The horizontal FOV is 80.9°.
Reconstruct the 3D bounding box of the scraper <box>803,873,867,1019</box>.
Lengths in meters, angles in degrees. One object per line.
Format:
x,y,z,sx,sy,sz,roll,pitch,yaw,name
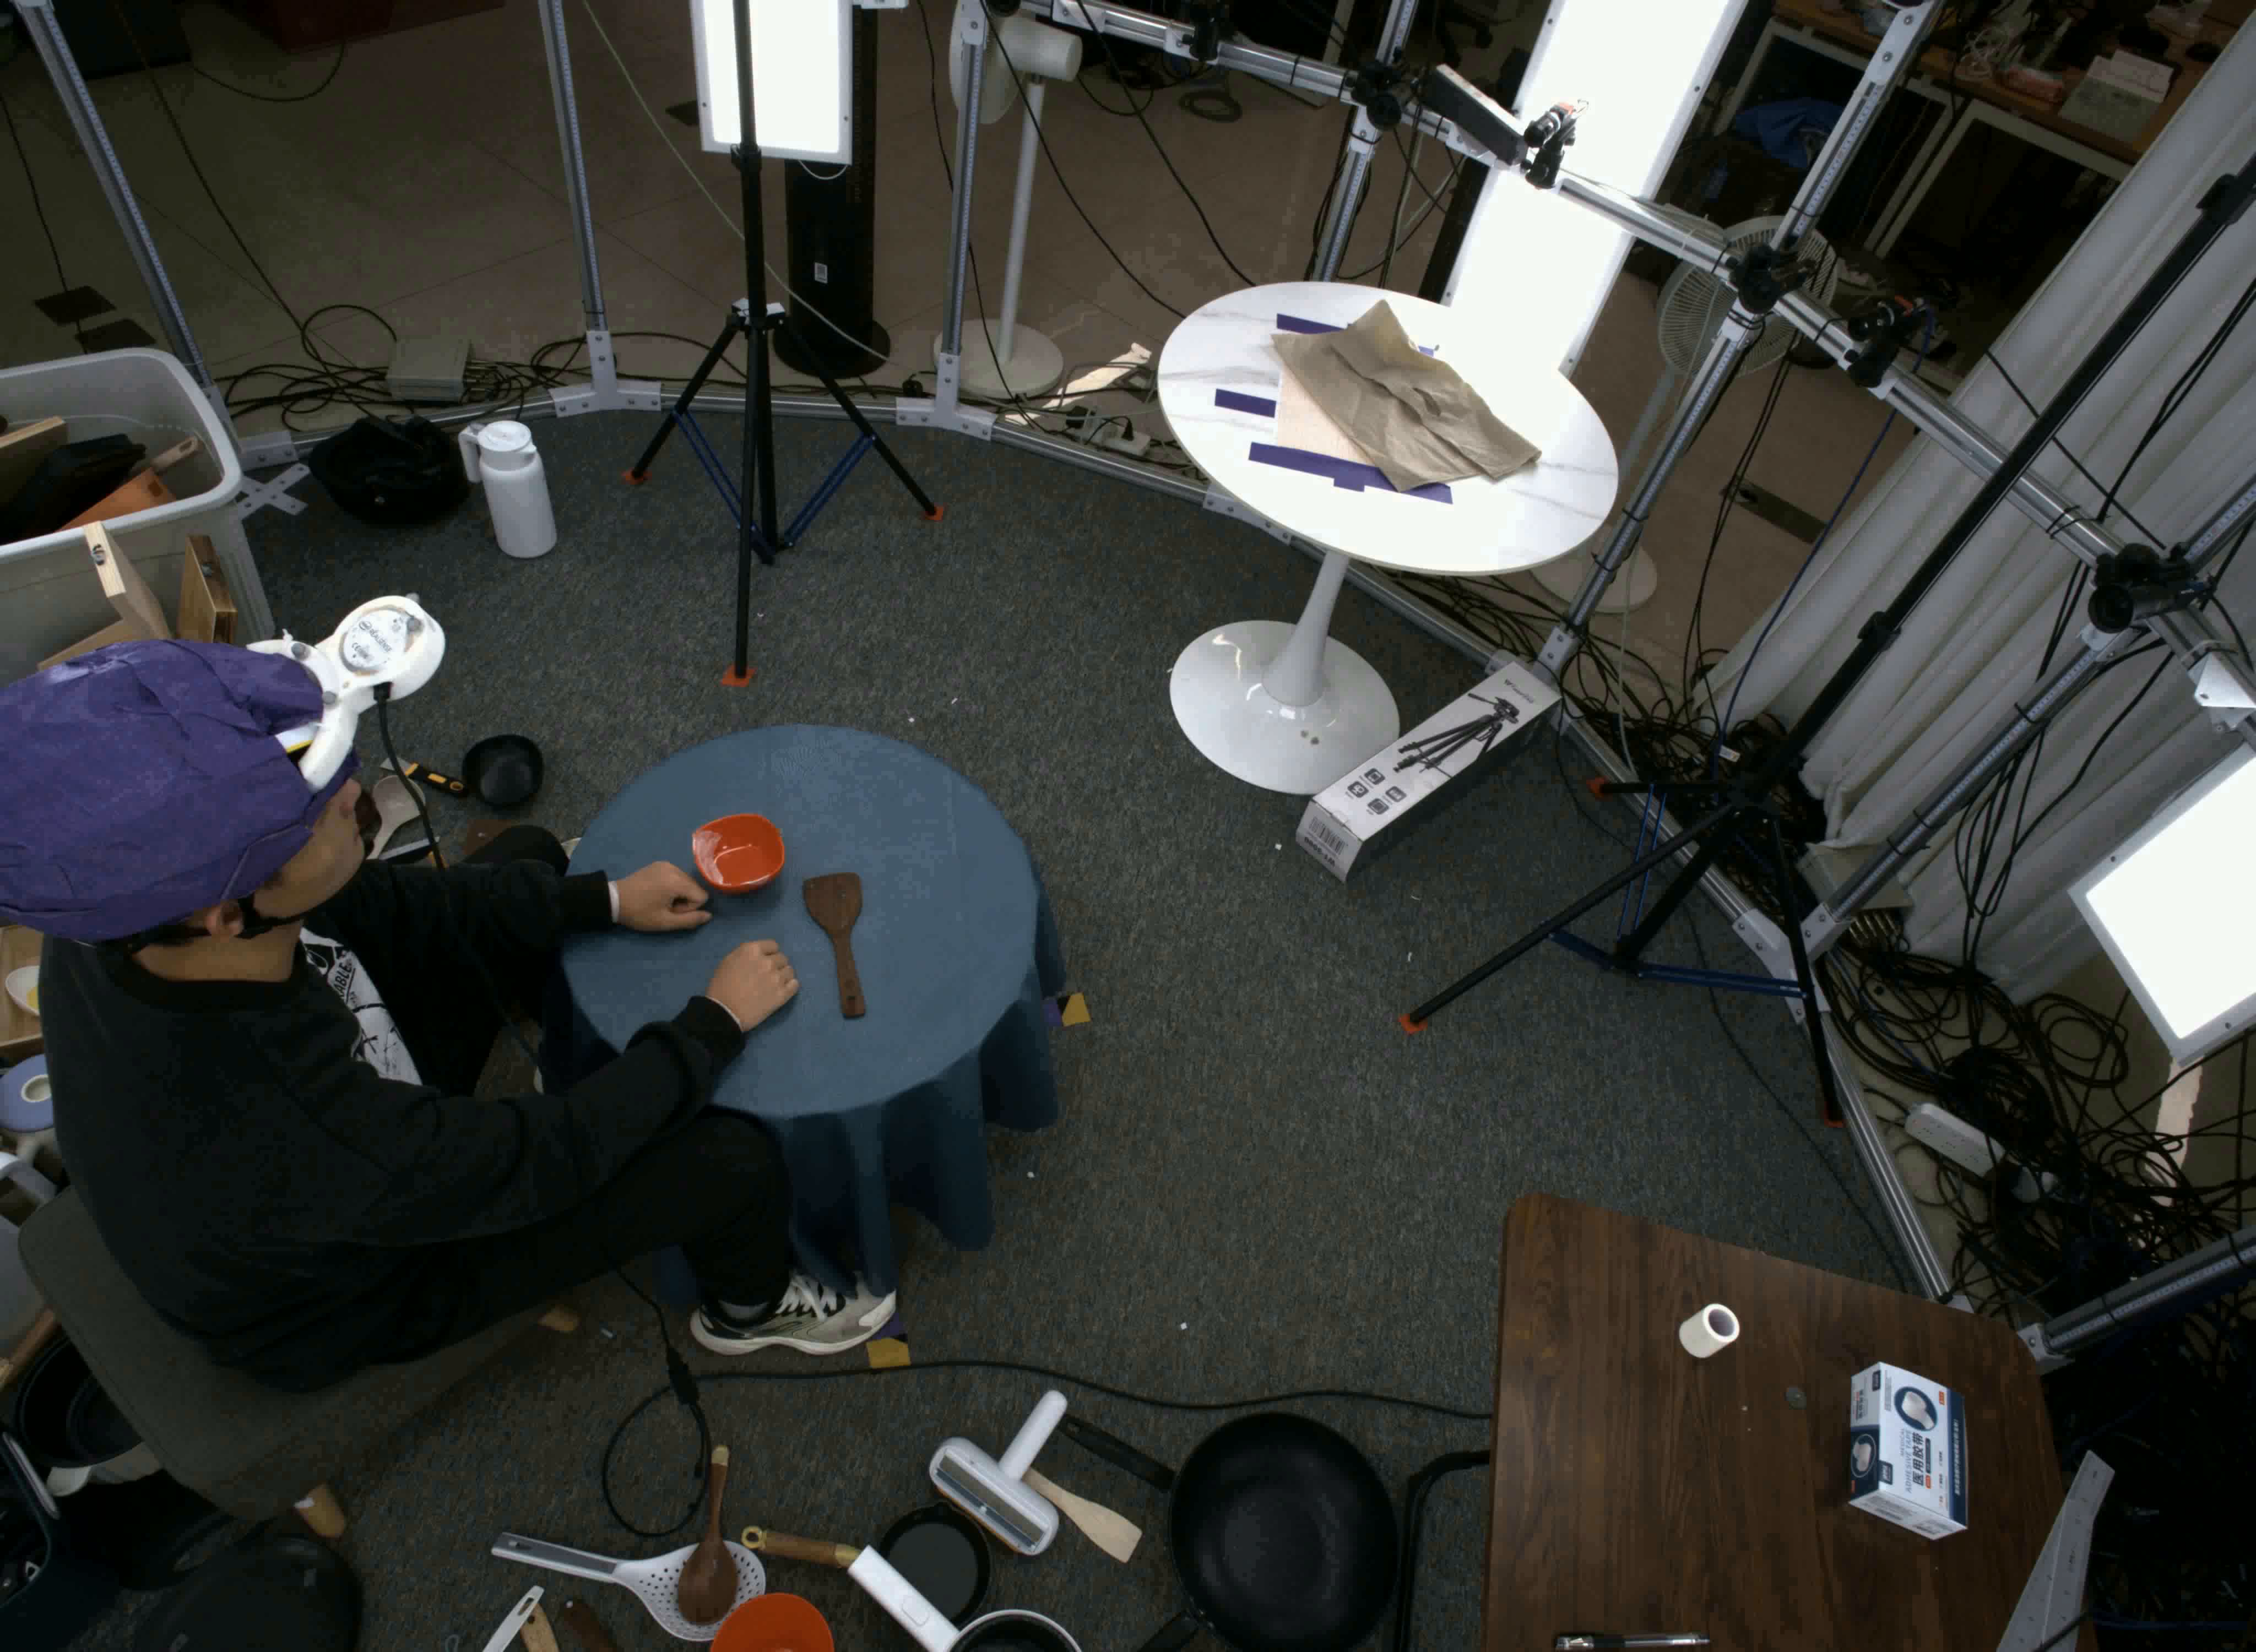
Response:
-0.358,0.147,1.631,0.076,0.011,0.206,-7,57,-18,scraper

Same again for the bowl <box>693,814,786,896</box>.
-0.494,0.044,1.647,0.119,0.052,0.117,9,52,-9,bowl
